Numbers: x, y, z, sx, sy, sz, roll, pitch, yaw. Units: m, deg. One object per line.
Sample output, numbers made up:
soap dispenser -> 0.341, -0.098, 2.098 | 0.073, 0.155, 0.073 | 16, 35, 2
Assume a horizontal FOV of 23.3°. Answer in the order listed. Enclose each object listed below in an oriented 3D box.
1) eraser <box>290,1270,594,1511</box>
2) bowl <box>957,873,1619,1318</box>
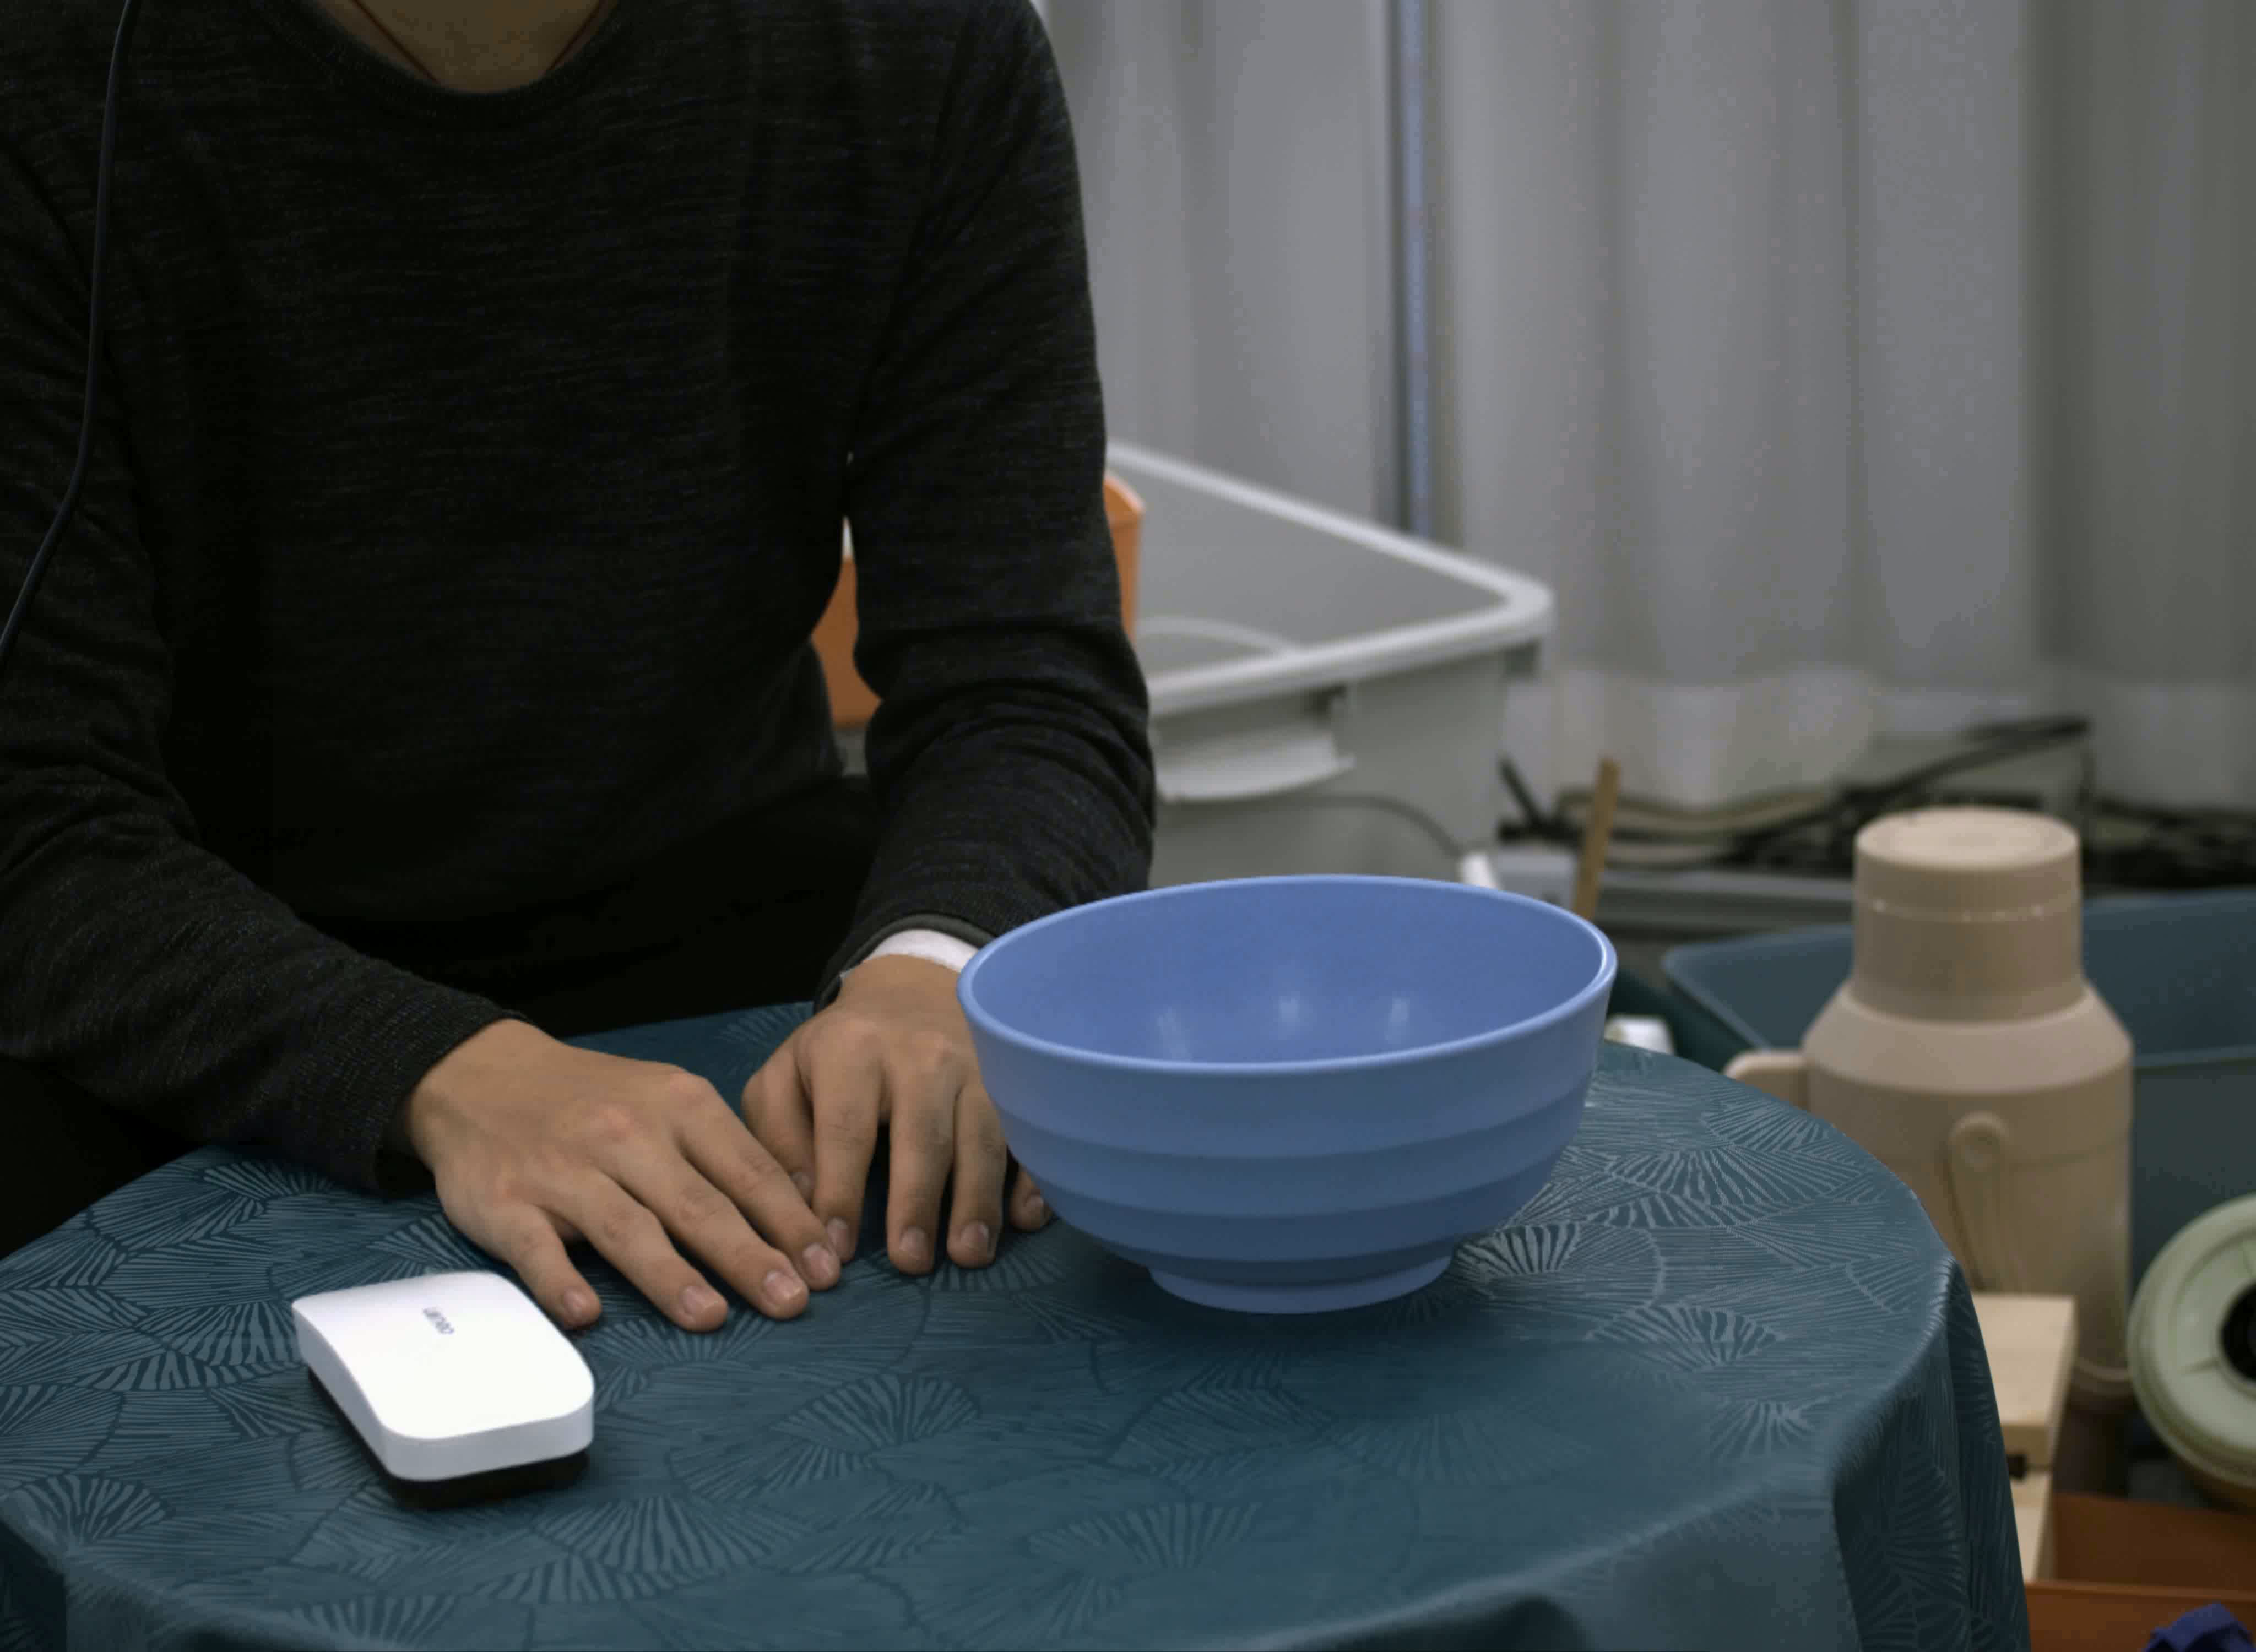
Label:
eraser -> -0.193, 0.155, 1.541 | 0.063, 0.034, 0.132 | -7, 16, -20
bowl -> 0.049, 0.086, 1.630 | 0.196, 0.095, 0.198 | -3, 15, 0
